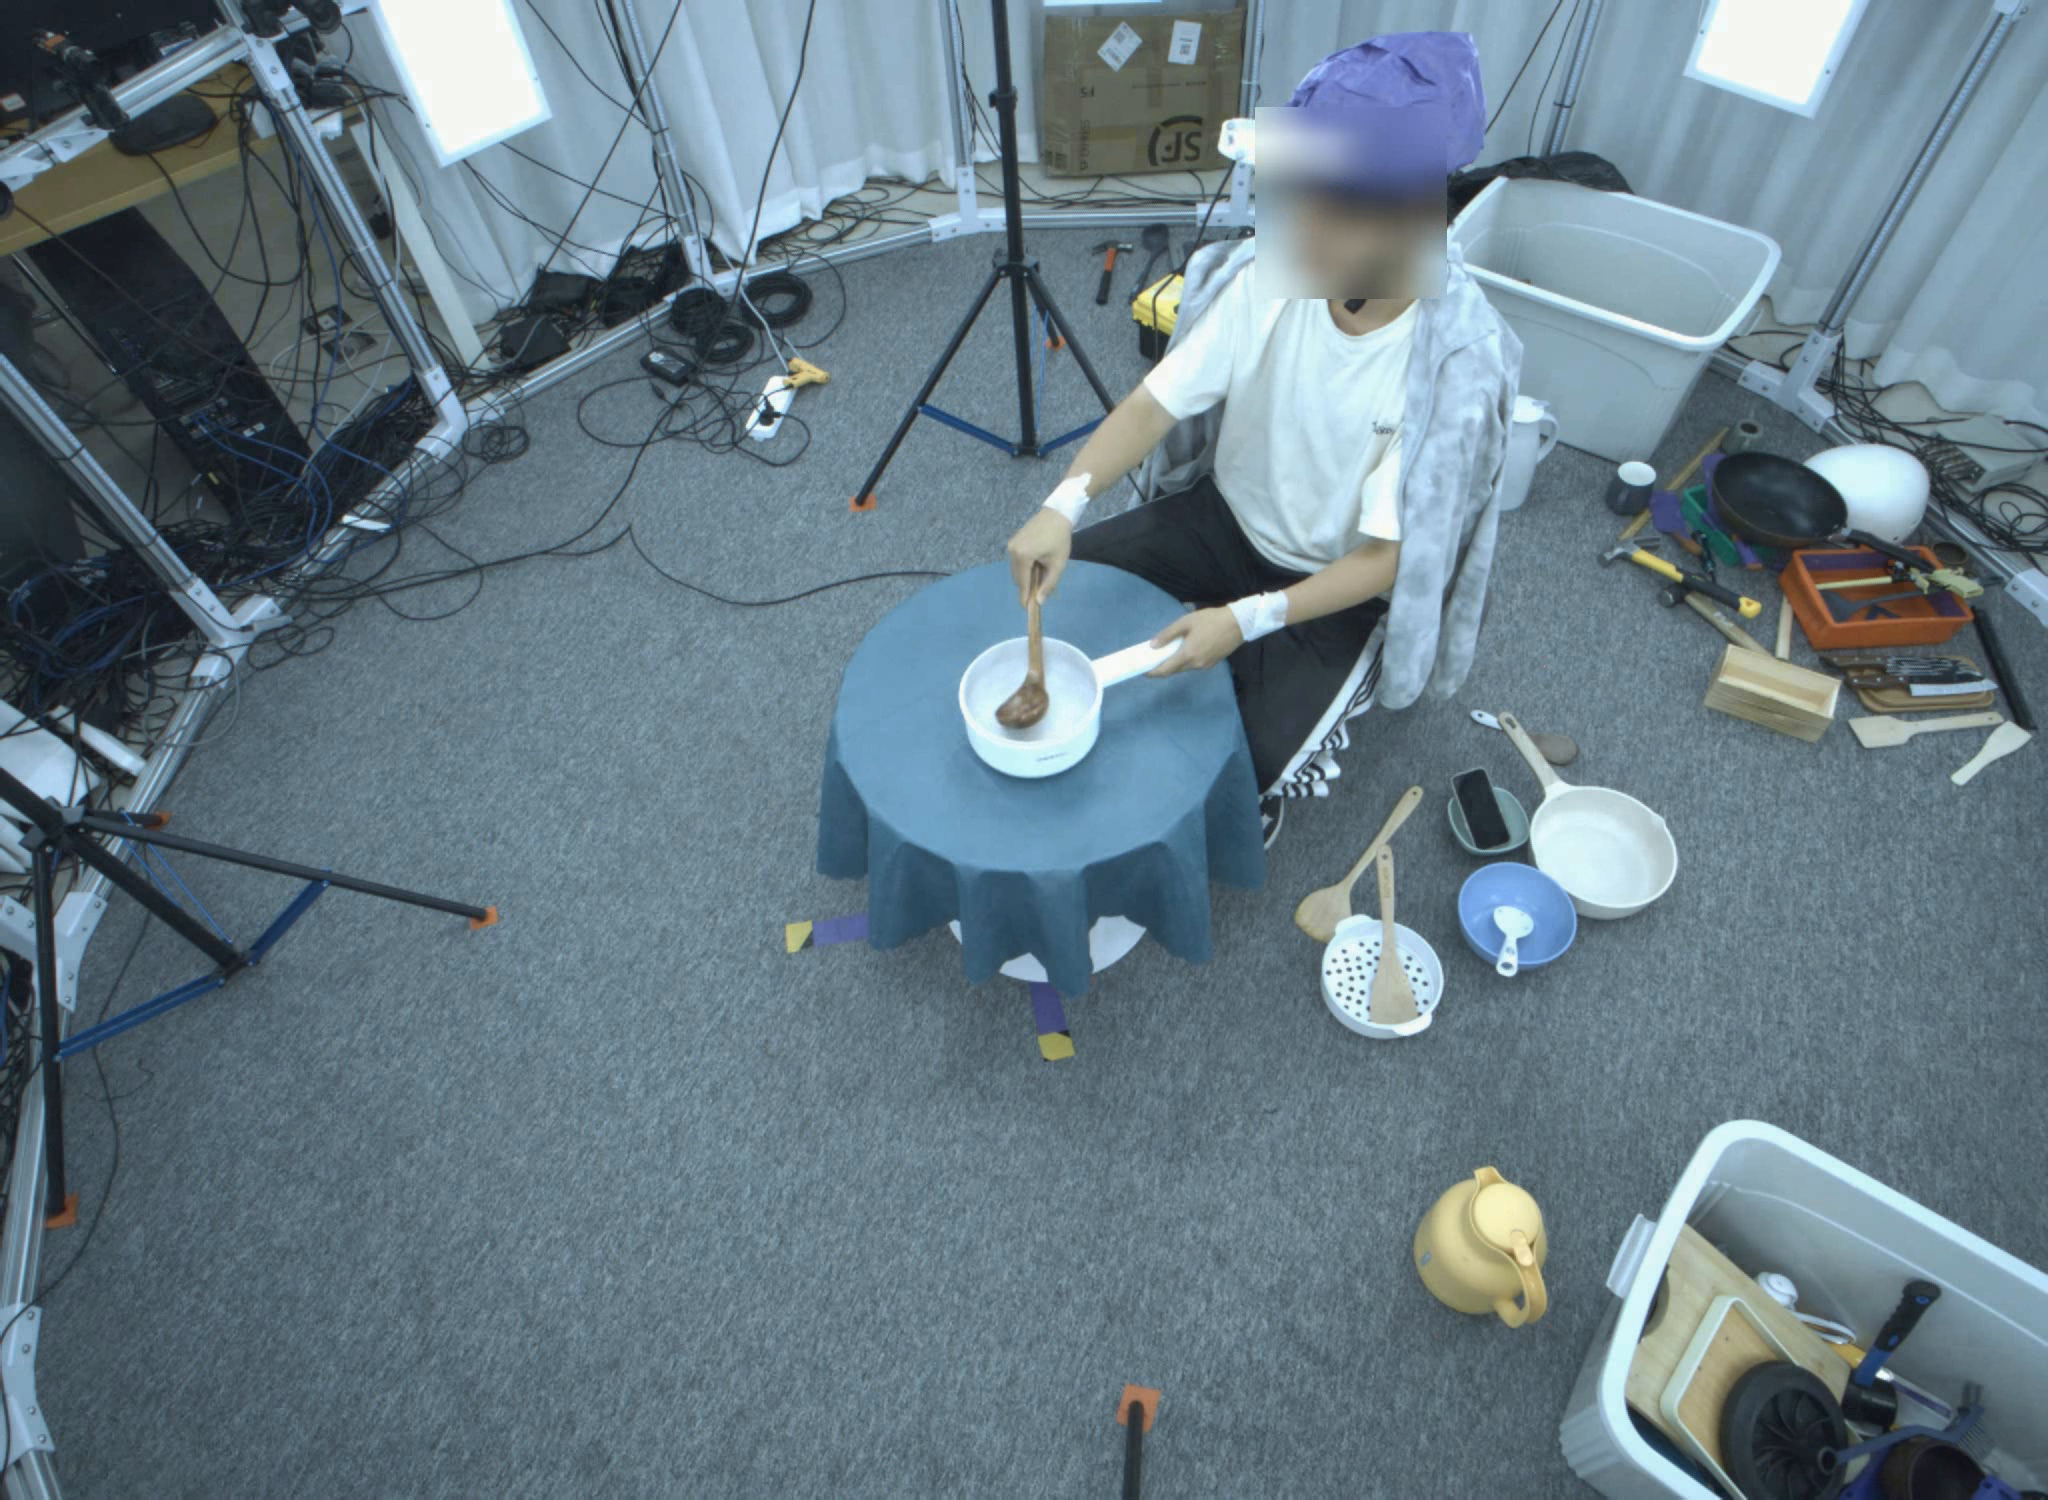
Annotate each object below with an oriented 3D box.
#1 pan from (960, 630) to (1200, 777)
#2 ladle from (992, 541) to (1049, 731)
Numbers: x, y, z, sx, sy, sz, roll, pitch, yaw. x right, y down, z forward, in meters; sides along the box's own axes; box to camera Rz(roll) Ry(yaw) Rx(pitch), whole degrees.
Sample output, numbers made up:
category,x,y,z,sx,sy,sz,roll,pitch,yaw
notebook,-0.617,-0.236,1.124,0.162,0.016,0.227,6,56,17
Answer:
category,x,y,z,sx,sy,sz,roll,pitch,yaw
pan,0.084,-0.082,1.784,0.357,0.103,0.197,-19,56,-12
ladle,-0.001,-0.163,1.718,0.080,0.078,0.274,1,88,30
